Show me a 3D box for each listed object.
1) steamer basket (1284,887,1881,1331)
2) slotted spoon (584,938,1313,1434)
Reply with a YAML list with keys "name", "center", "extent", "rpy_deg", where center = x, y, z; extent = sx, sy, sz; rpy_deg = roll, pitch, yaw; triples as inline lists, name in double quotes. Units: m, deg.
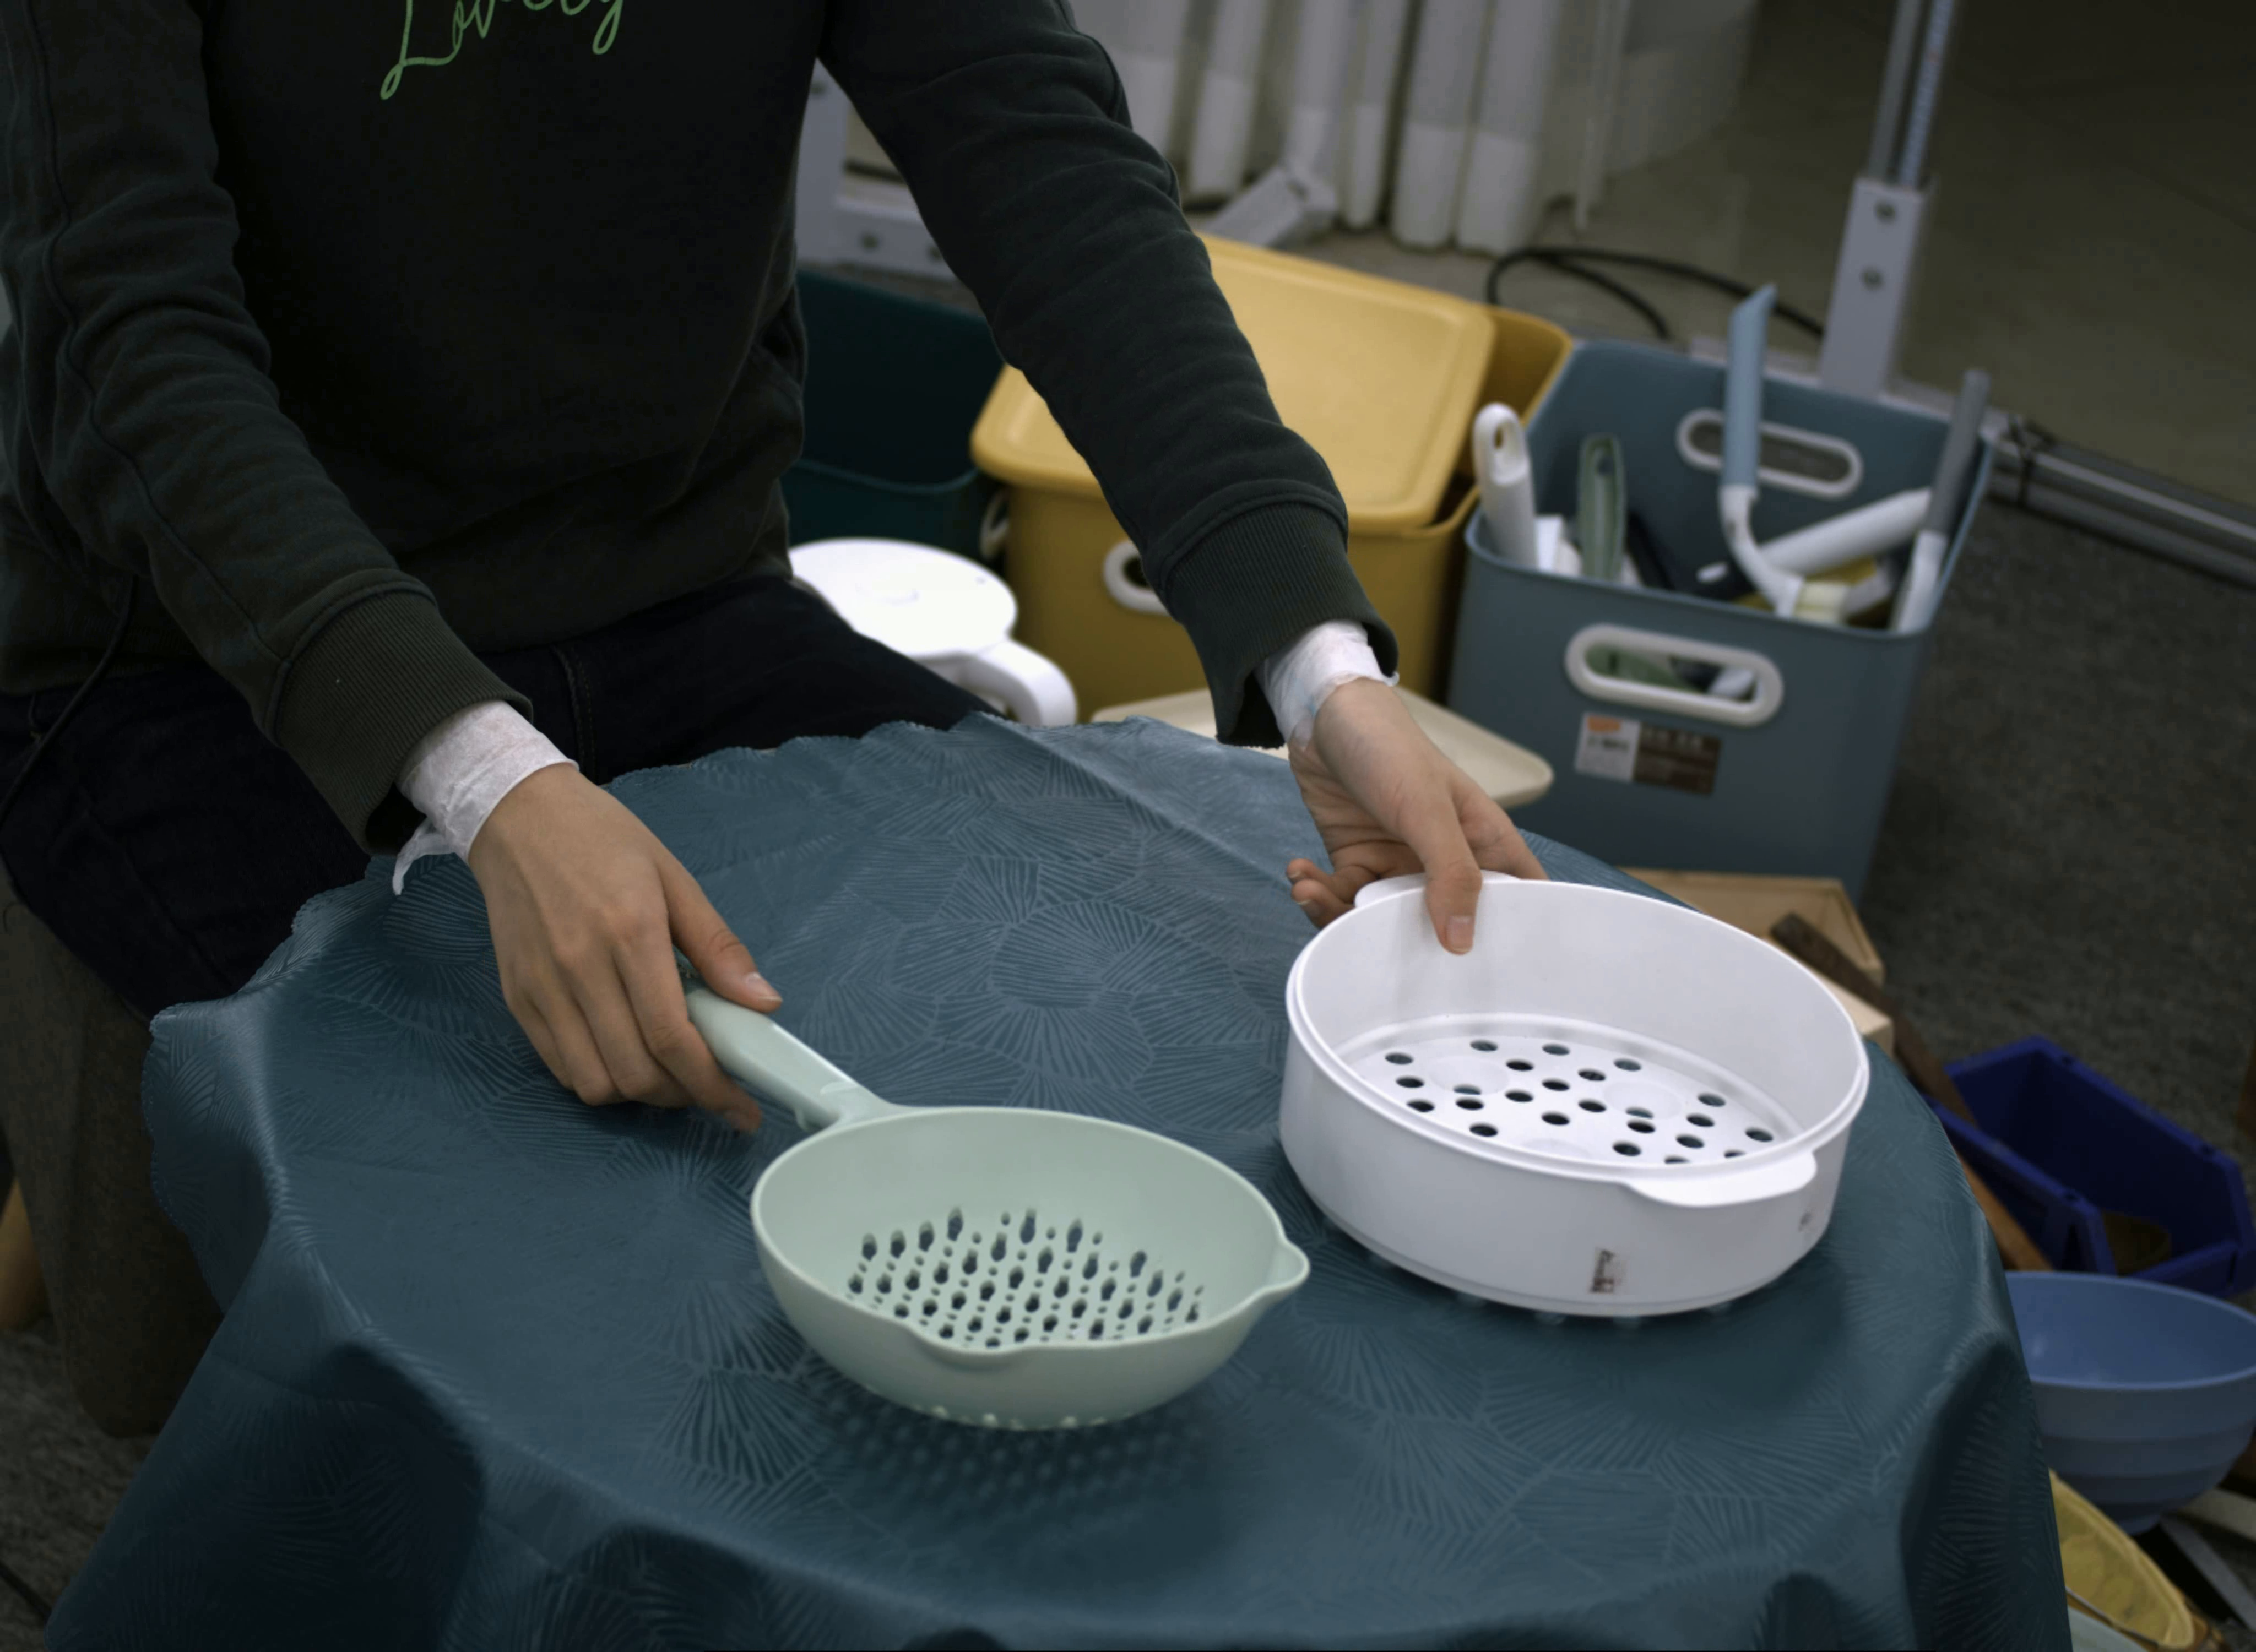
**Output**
- name: "steamer basket"
  center: [0.152, 0.098, 1.815]
  extent: [0.200, 0.069, 0.232]
  rpy_deg: [-6, 29, -26]
- name: "slotted spoon"
  center: [-0.089, 0.102, 1.744]
  extent: [0.168, 0.075, 0.362]
  rpy_deg: [-8, 32, -33]
